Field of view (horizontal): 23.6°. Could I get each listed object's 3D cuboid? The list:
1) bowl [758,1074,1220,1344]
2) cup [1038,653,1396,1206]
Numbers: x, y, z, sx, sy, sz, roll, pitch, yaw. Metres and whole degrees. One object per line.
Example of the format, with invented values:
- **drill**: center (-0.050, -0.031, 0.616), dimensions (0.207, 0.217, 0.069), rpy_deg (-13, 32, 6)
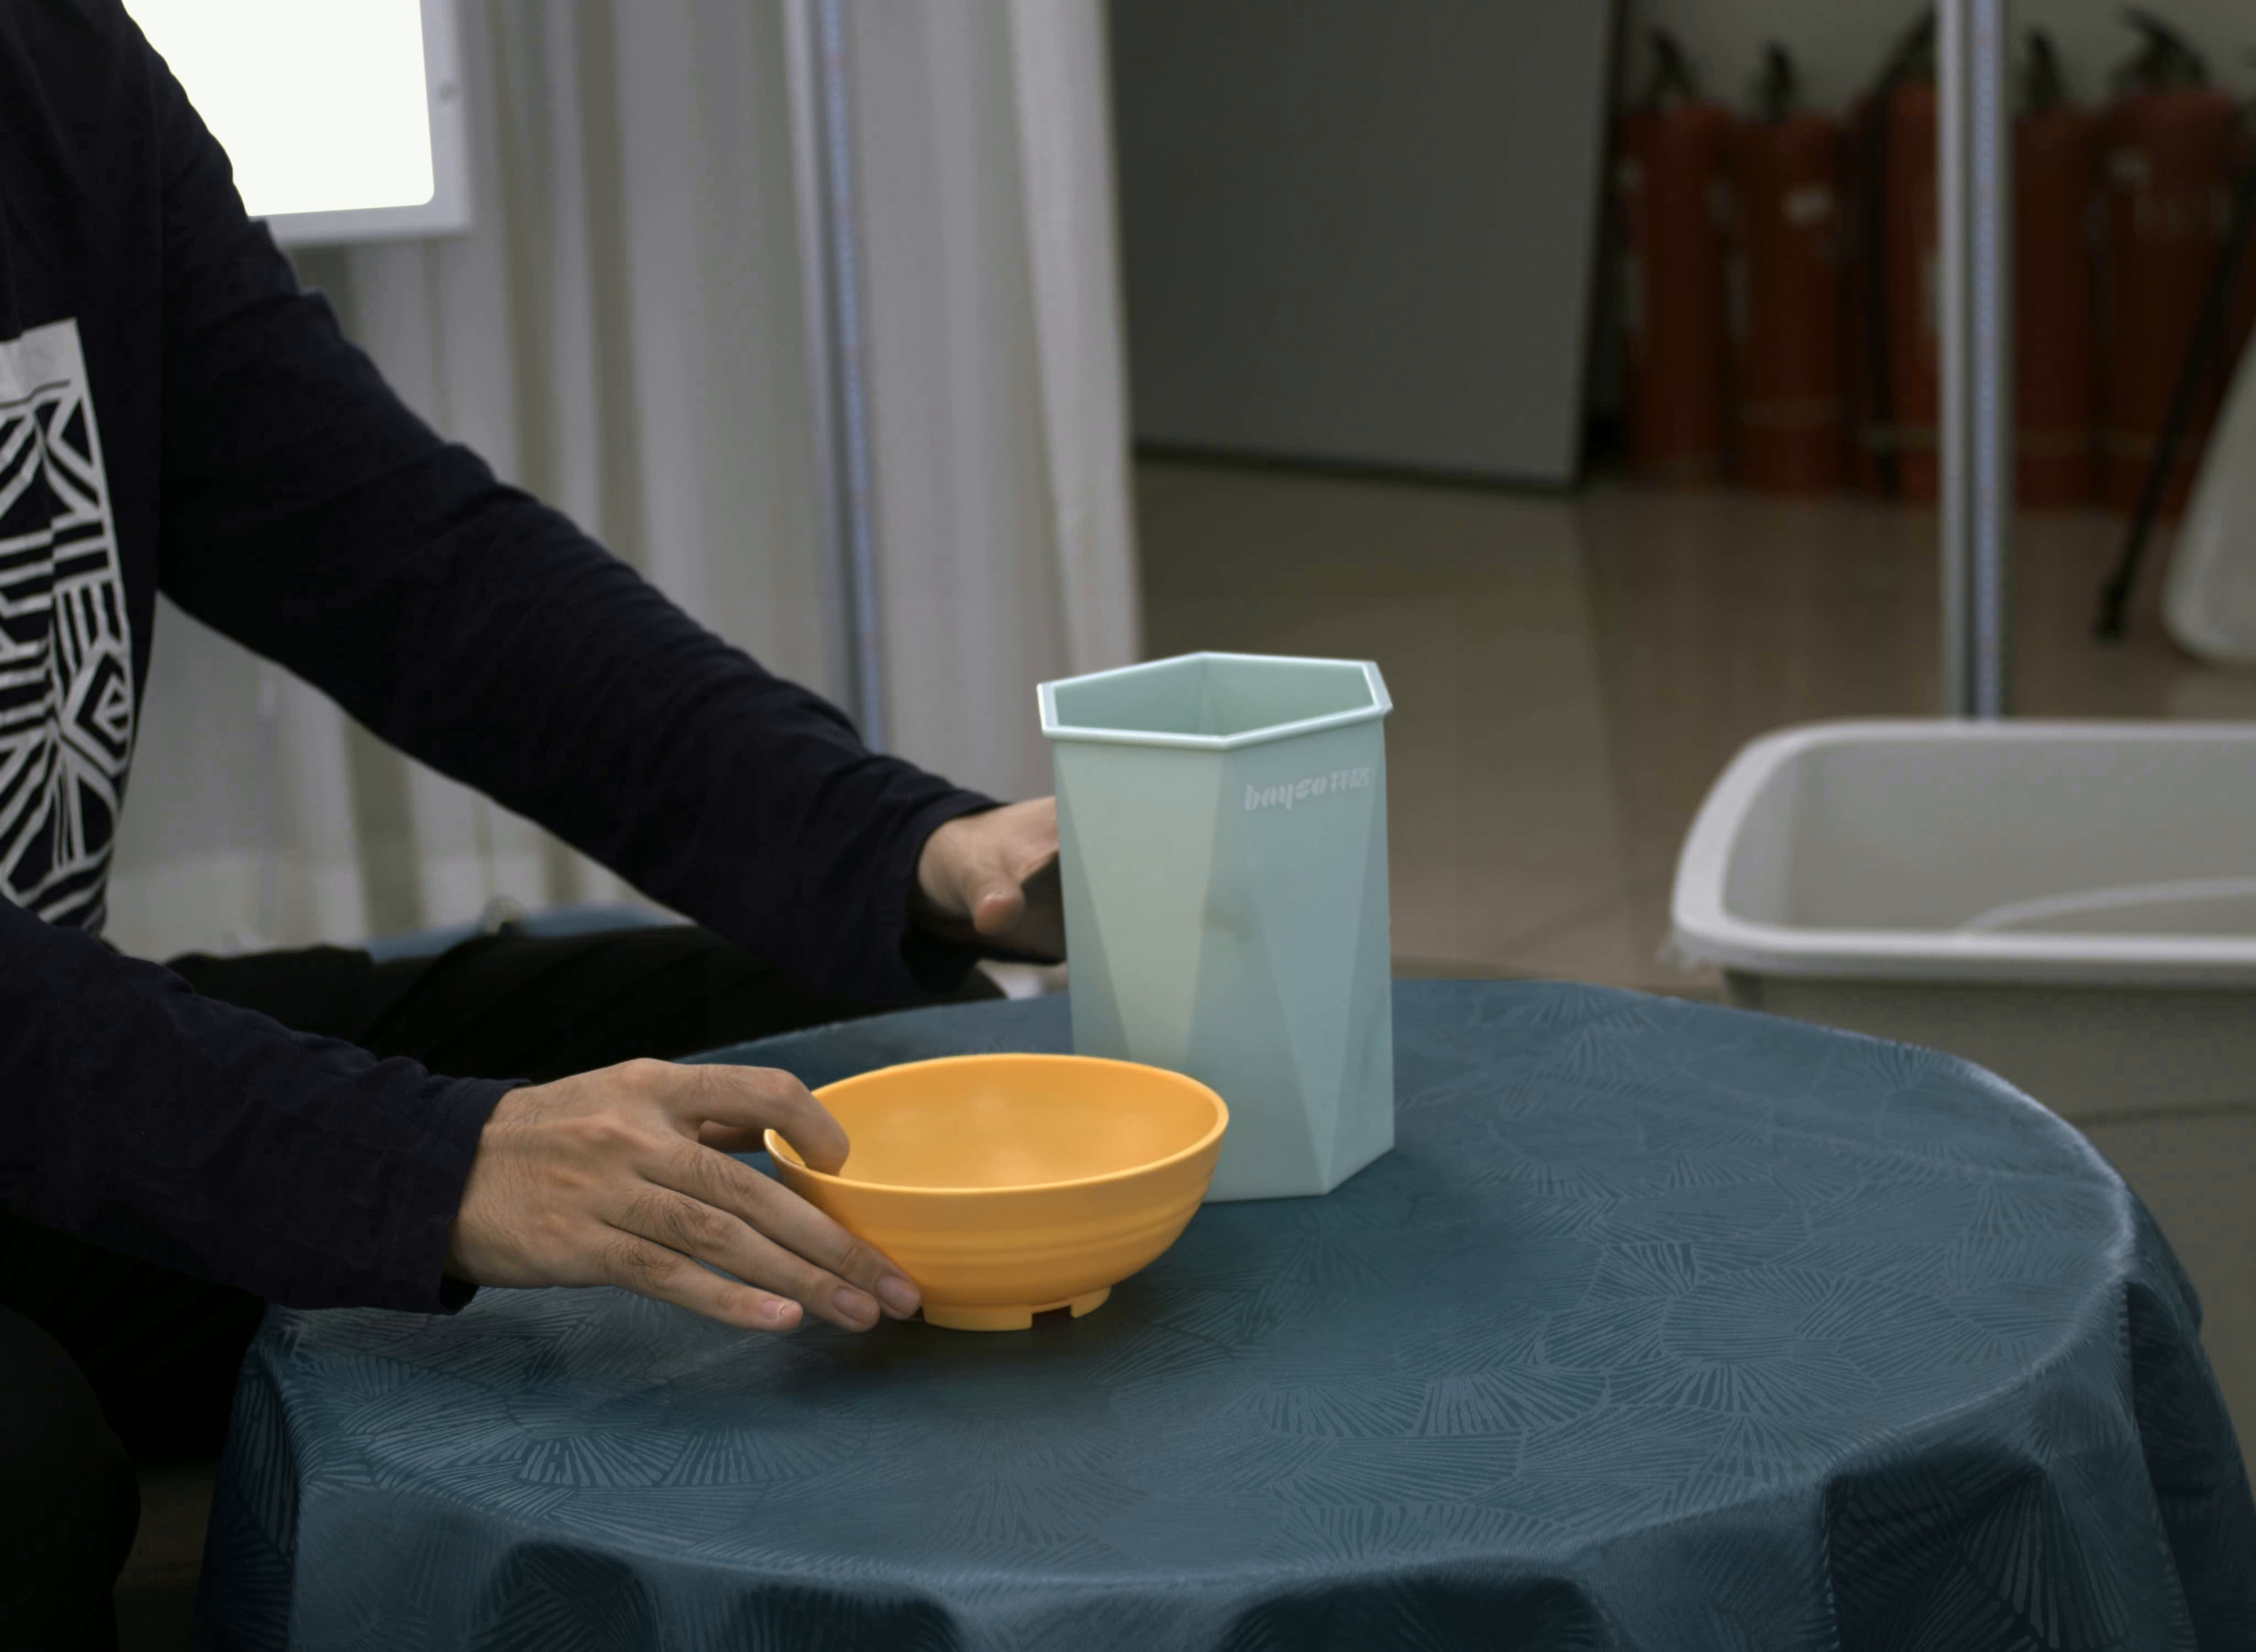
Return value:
- **bowl**: center (-0.042, 0.122, 1.670), dimensions (0.143, 0.061, 0.145), rpy_deg (-3, 11, 0)
- **cup**: center (0.033, 0.034, 1.780), dimensions (0.128, 0.165, 0.116), rpy_deg (-11, 13, -33)
